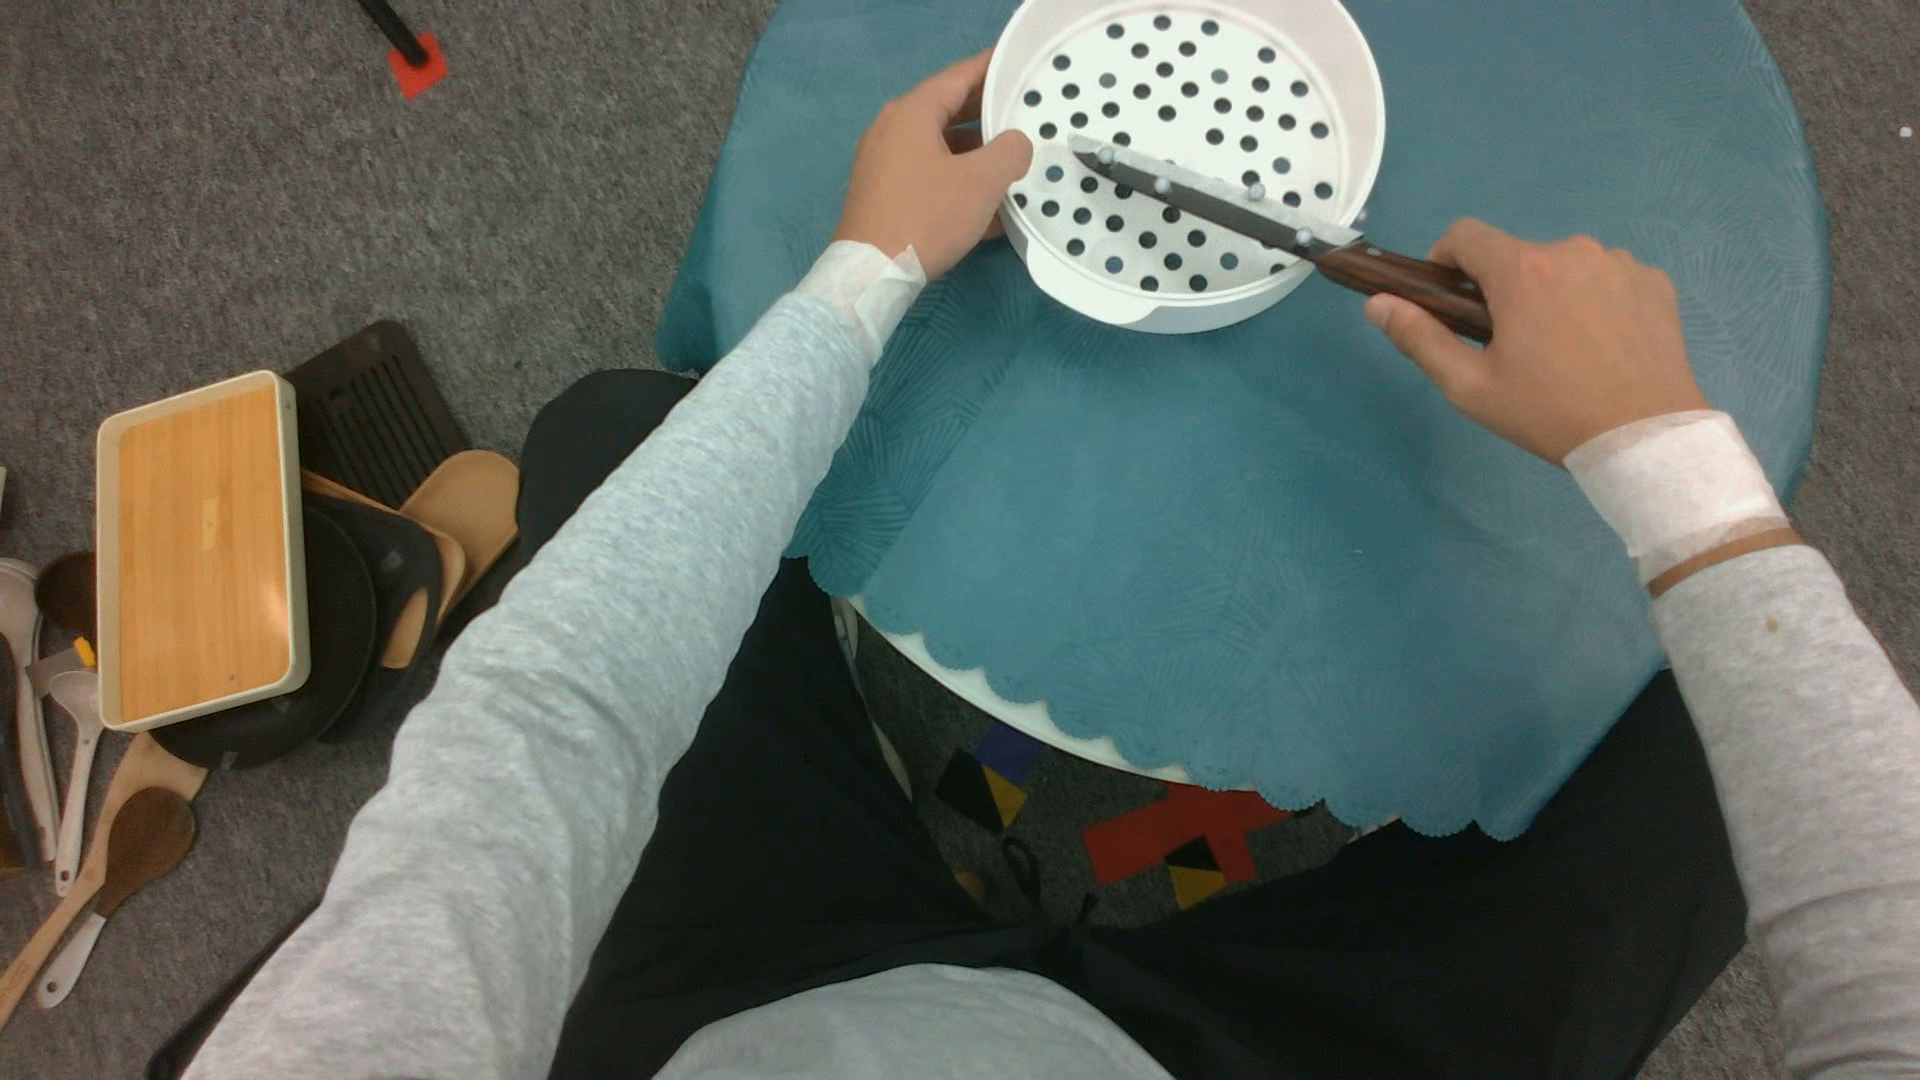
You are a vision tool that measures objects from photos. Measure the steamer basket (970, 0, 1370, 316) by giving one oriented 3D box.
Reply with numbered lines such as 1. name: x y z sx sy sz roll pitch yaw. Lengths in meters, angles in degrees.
1. steamer basket: 0.107 -0.217 0.723 0.202 0.069 0.231 28 82 6

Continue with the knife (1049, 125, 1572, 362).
1. knife: 0.157 -0.152 0.664 0.289 0.020 0.050 32 44 27
